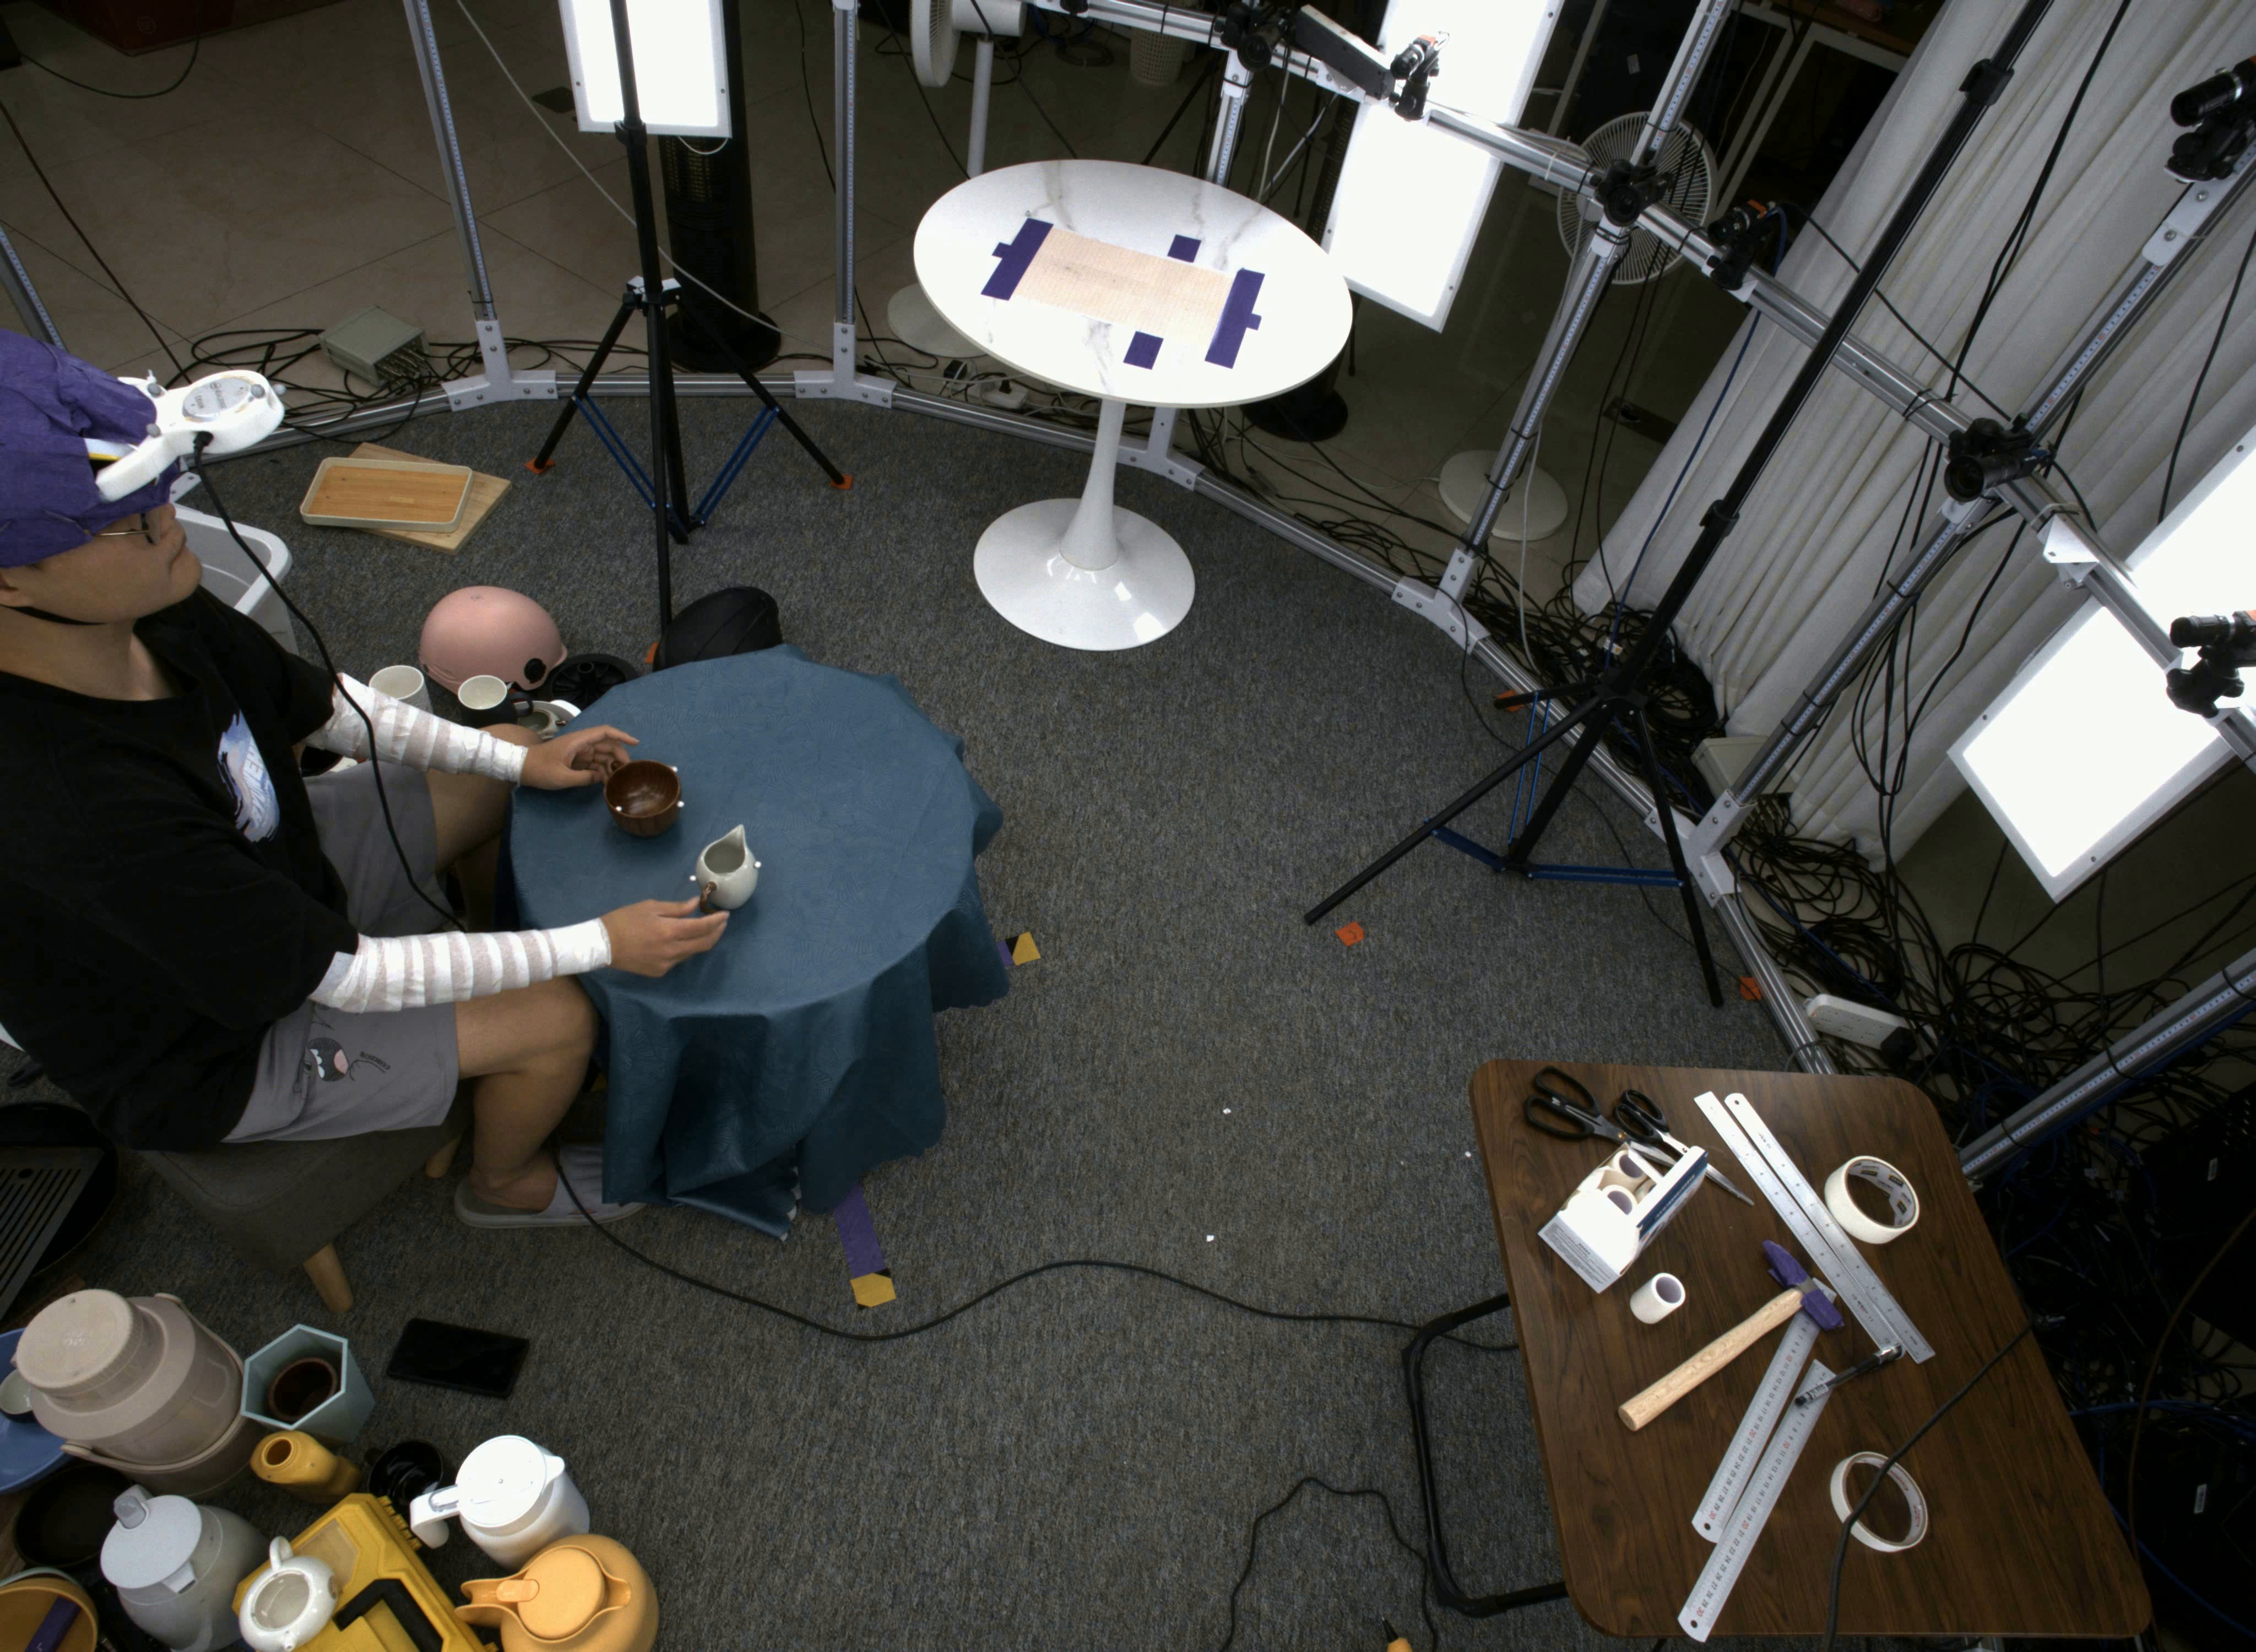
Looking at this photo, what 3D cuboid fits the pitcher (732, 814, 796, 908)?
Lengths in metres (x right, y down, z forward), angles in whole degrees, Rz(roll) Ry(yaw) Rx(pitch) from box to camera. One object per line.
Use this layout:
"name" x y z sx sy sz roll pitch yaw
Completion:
"pitcher" -0.460 0.054 1.628 0.074 0.090 0.118 19 48 10

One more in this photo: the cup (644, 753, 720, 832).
"cup" -0.587 -0.046 1.686 0.116 0.069 0.096 41 59 20
